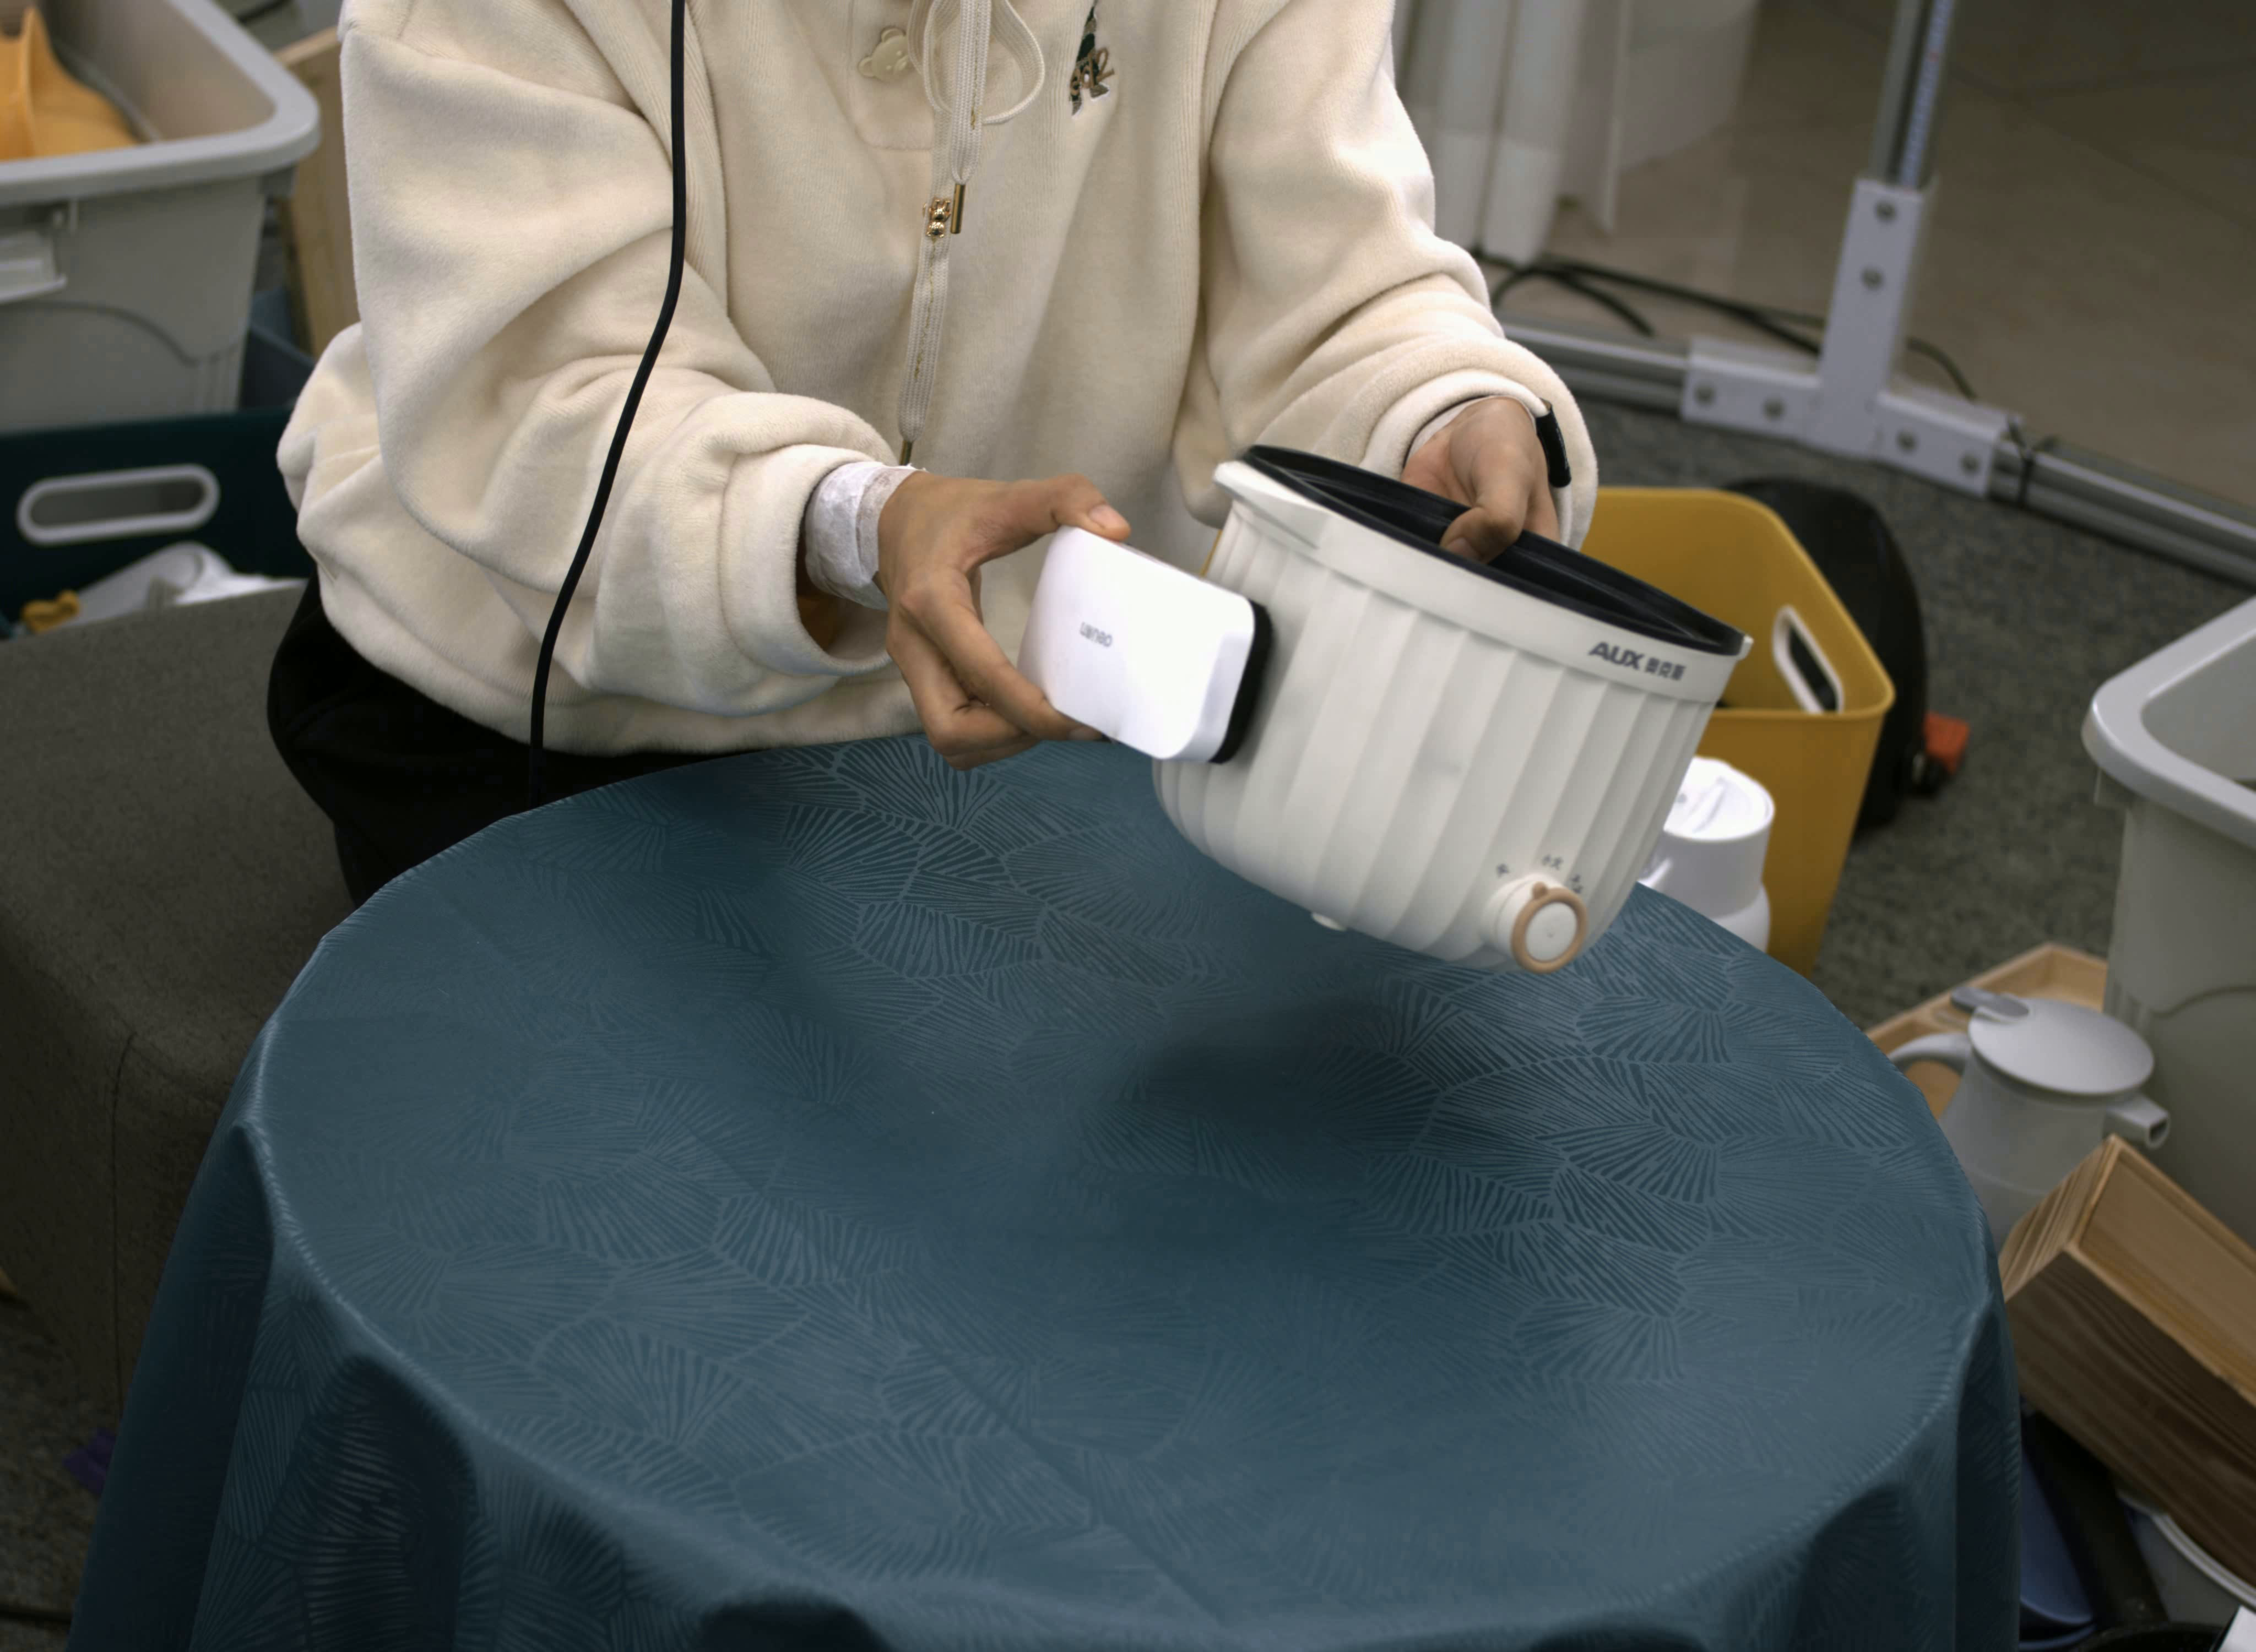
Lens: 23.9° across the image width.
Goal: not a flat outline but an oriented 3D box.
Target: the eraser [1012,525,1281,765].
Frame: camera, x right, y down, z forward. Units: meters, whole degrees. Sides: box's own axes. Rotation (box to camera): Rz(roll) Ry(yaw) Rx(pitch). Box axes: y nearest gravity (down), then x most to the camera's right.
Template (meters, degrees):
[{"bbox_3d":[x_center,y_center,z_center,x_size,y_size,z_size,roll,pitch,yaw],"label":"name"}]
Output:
[{"bbox_3d":[0.003,-0.063,1.800,0.034,0.063,0.132,15,6,-31],"label":"eraser"}]

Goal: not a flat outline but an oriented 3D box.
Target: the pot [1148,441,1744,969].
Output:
[{"bbox_3d":[0.105,-0.035,1.828,0.238,0.143,0.192,13,9,-37],"label":"pot"}]
